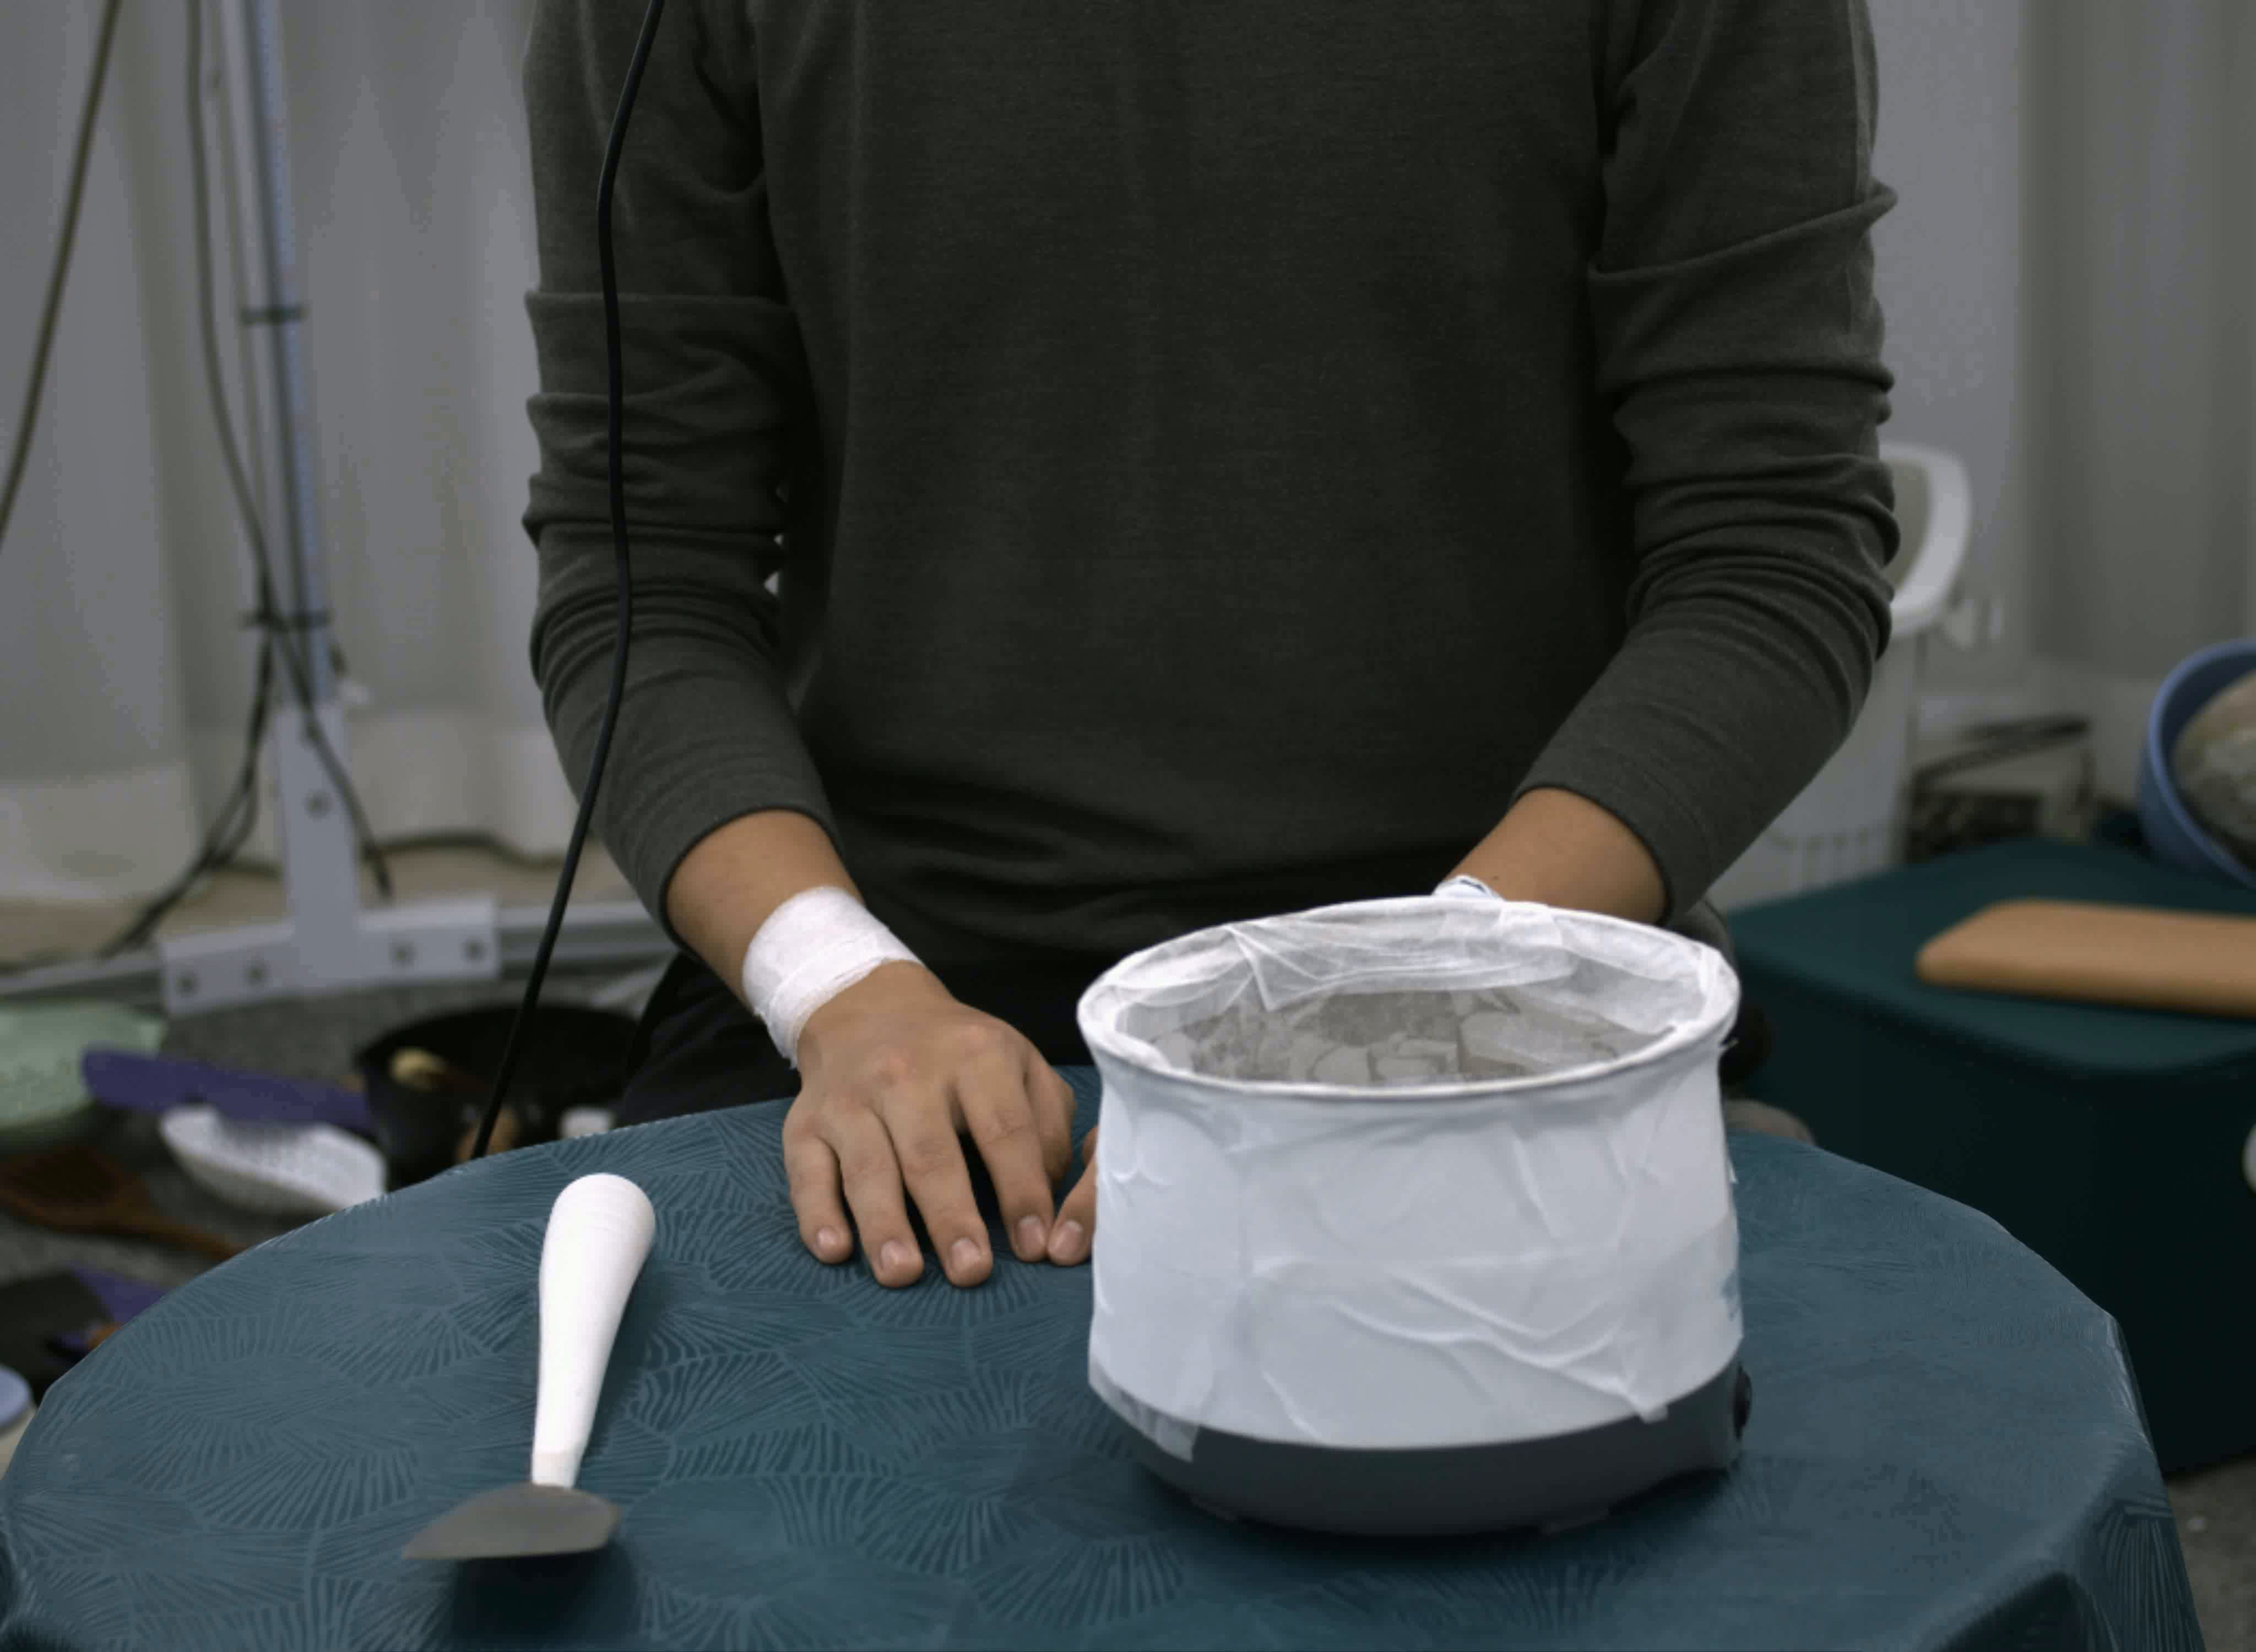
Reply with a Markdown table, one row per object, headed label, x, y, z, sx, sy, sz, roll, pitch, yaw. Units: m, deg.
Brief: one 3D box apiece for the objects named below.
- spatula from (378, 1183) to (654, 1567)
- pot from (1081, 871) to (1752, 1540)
| label | x | y | z | sx | sy | sz | roll | pitch | yaw |
| --- | --- | --- | --- | --- | --- | --- | --- | --- | --- |
| spatula | -0.160 | 0.158 | 1.520 | 0.058 | 0.032 | 0.289 | 1 | 14 | 0 |
| pot | 0.083 | 0.098 | 1.499 | 0.178 | 0.136 | 0.235 | 1 | 15 | 12 |
